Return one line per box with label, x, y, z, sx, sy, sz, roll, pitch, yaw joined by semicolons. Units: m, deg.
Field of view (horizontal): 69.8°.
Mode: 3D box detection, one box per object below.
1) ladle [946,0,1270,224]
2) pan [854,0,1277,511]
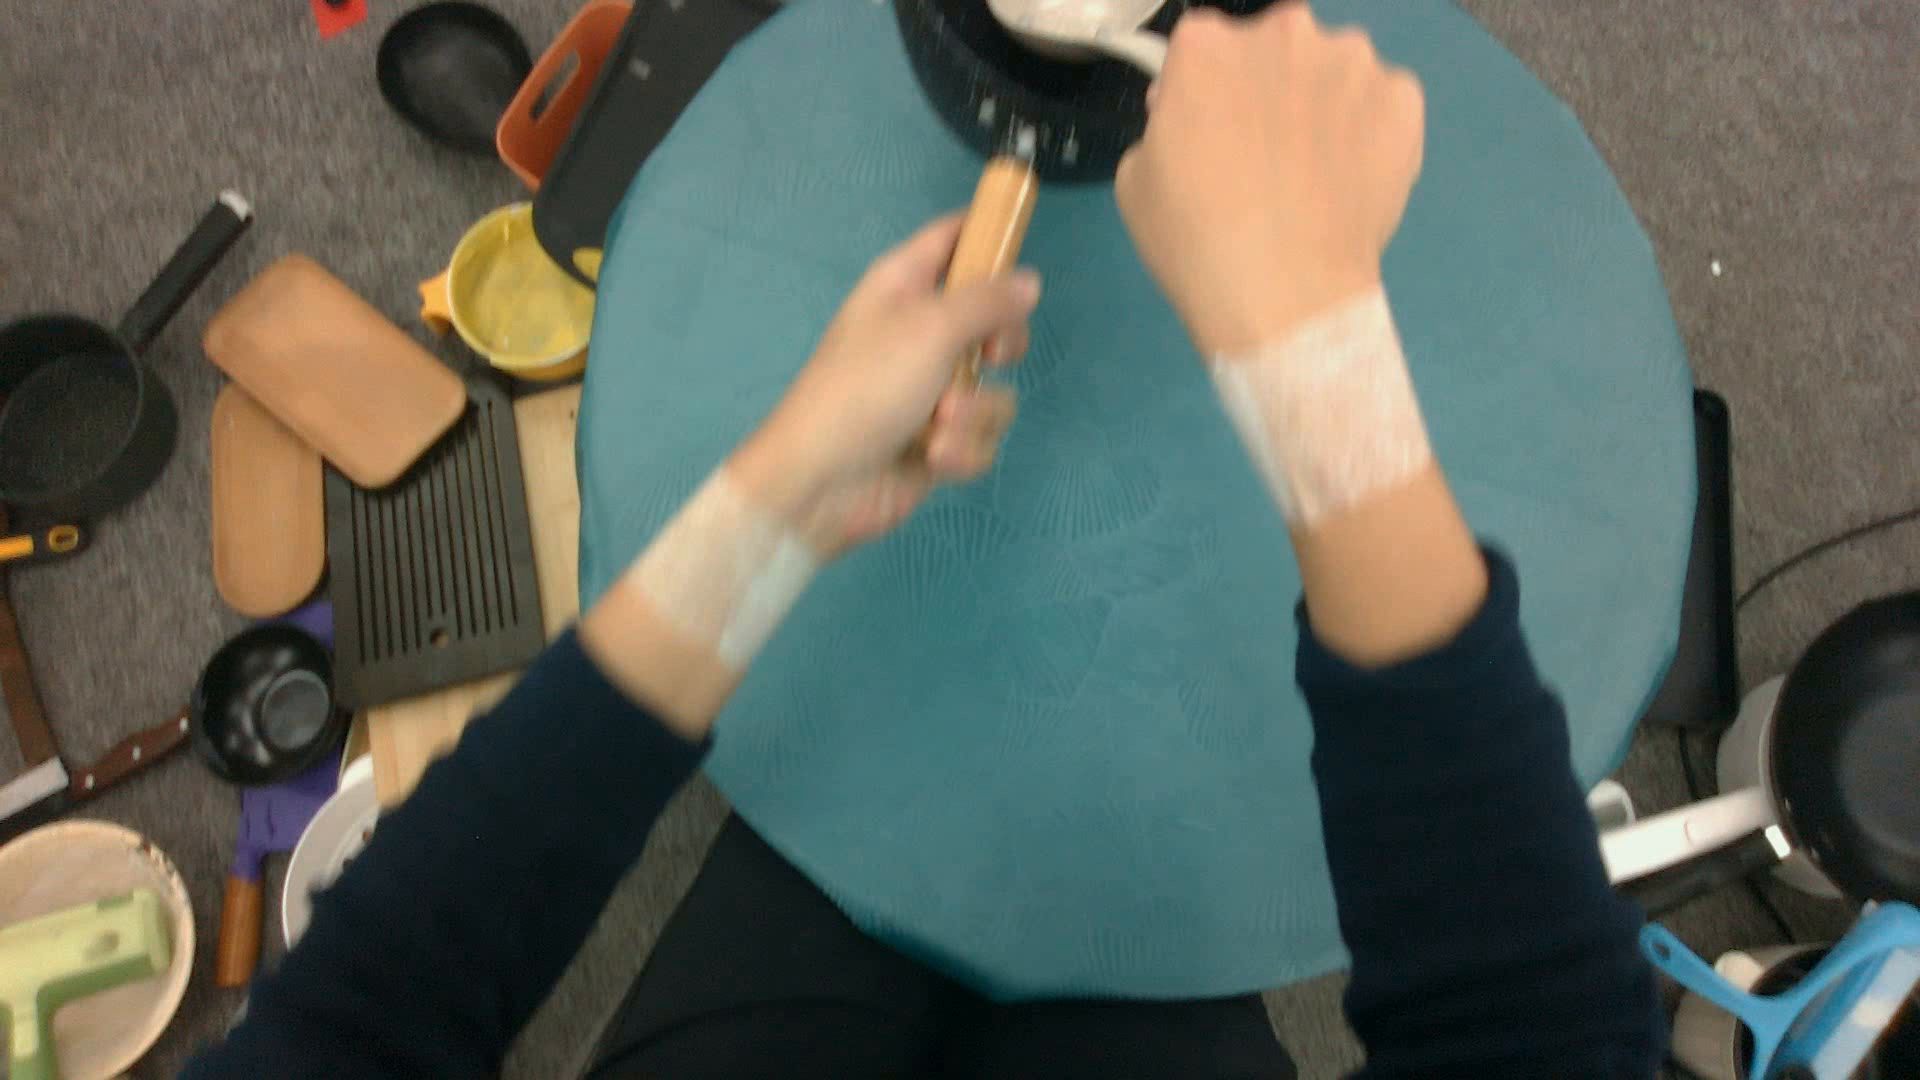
ladle;0.064;-0.198;0.559;0.089;0.275;0.069;-6;119;-13
pan;0.019;-0.160;0.609;0.207;0.108;0.343;20;74;-8
